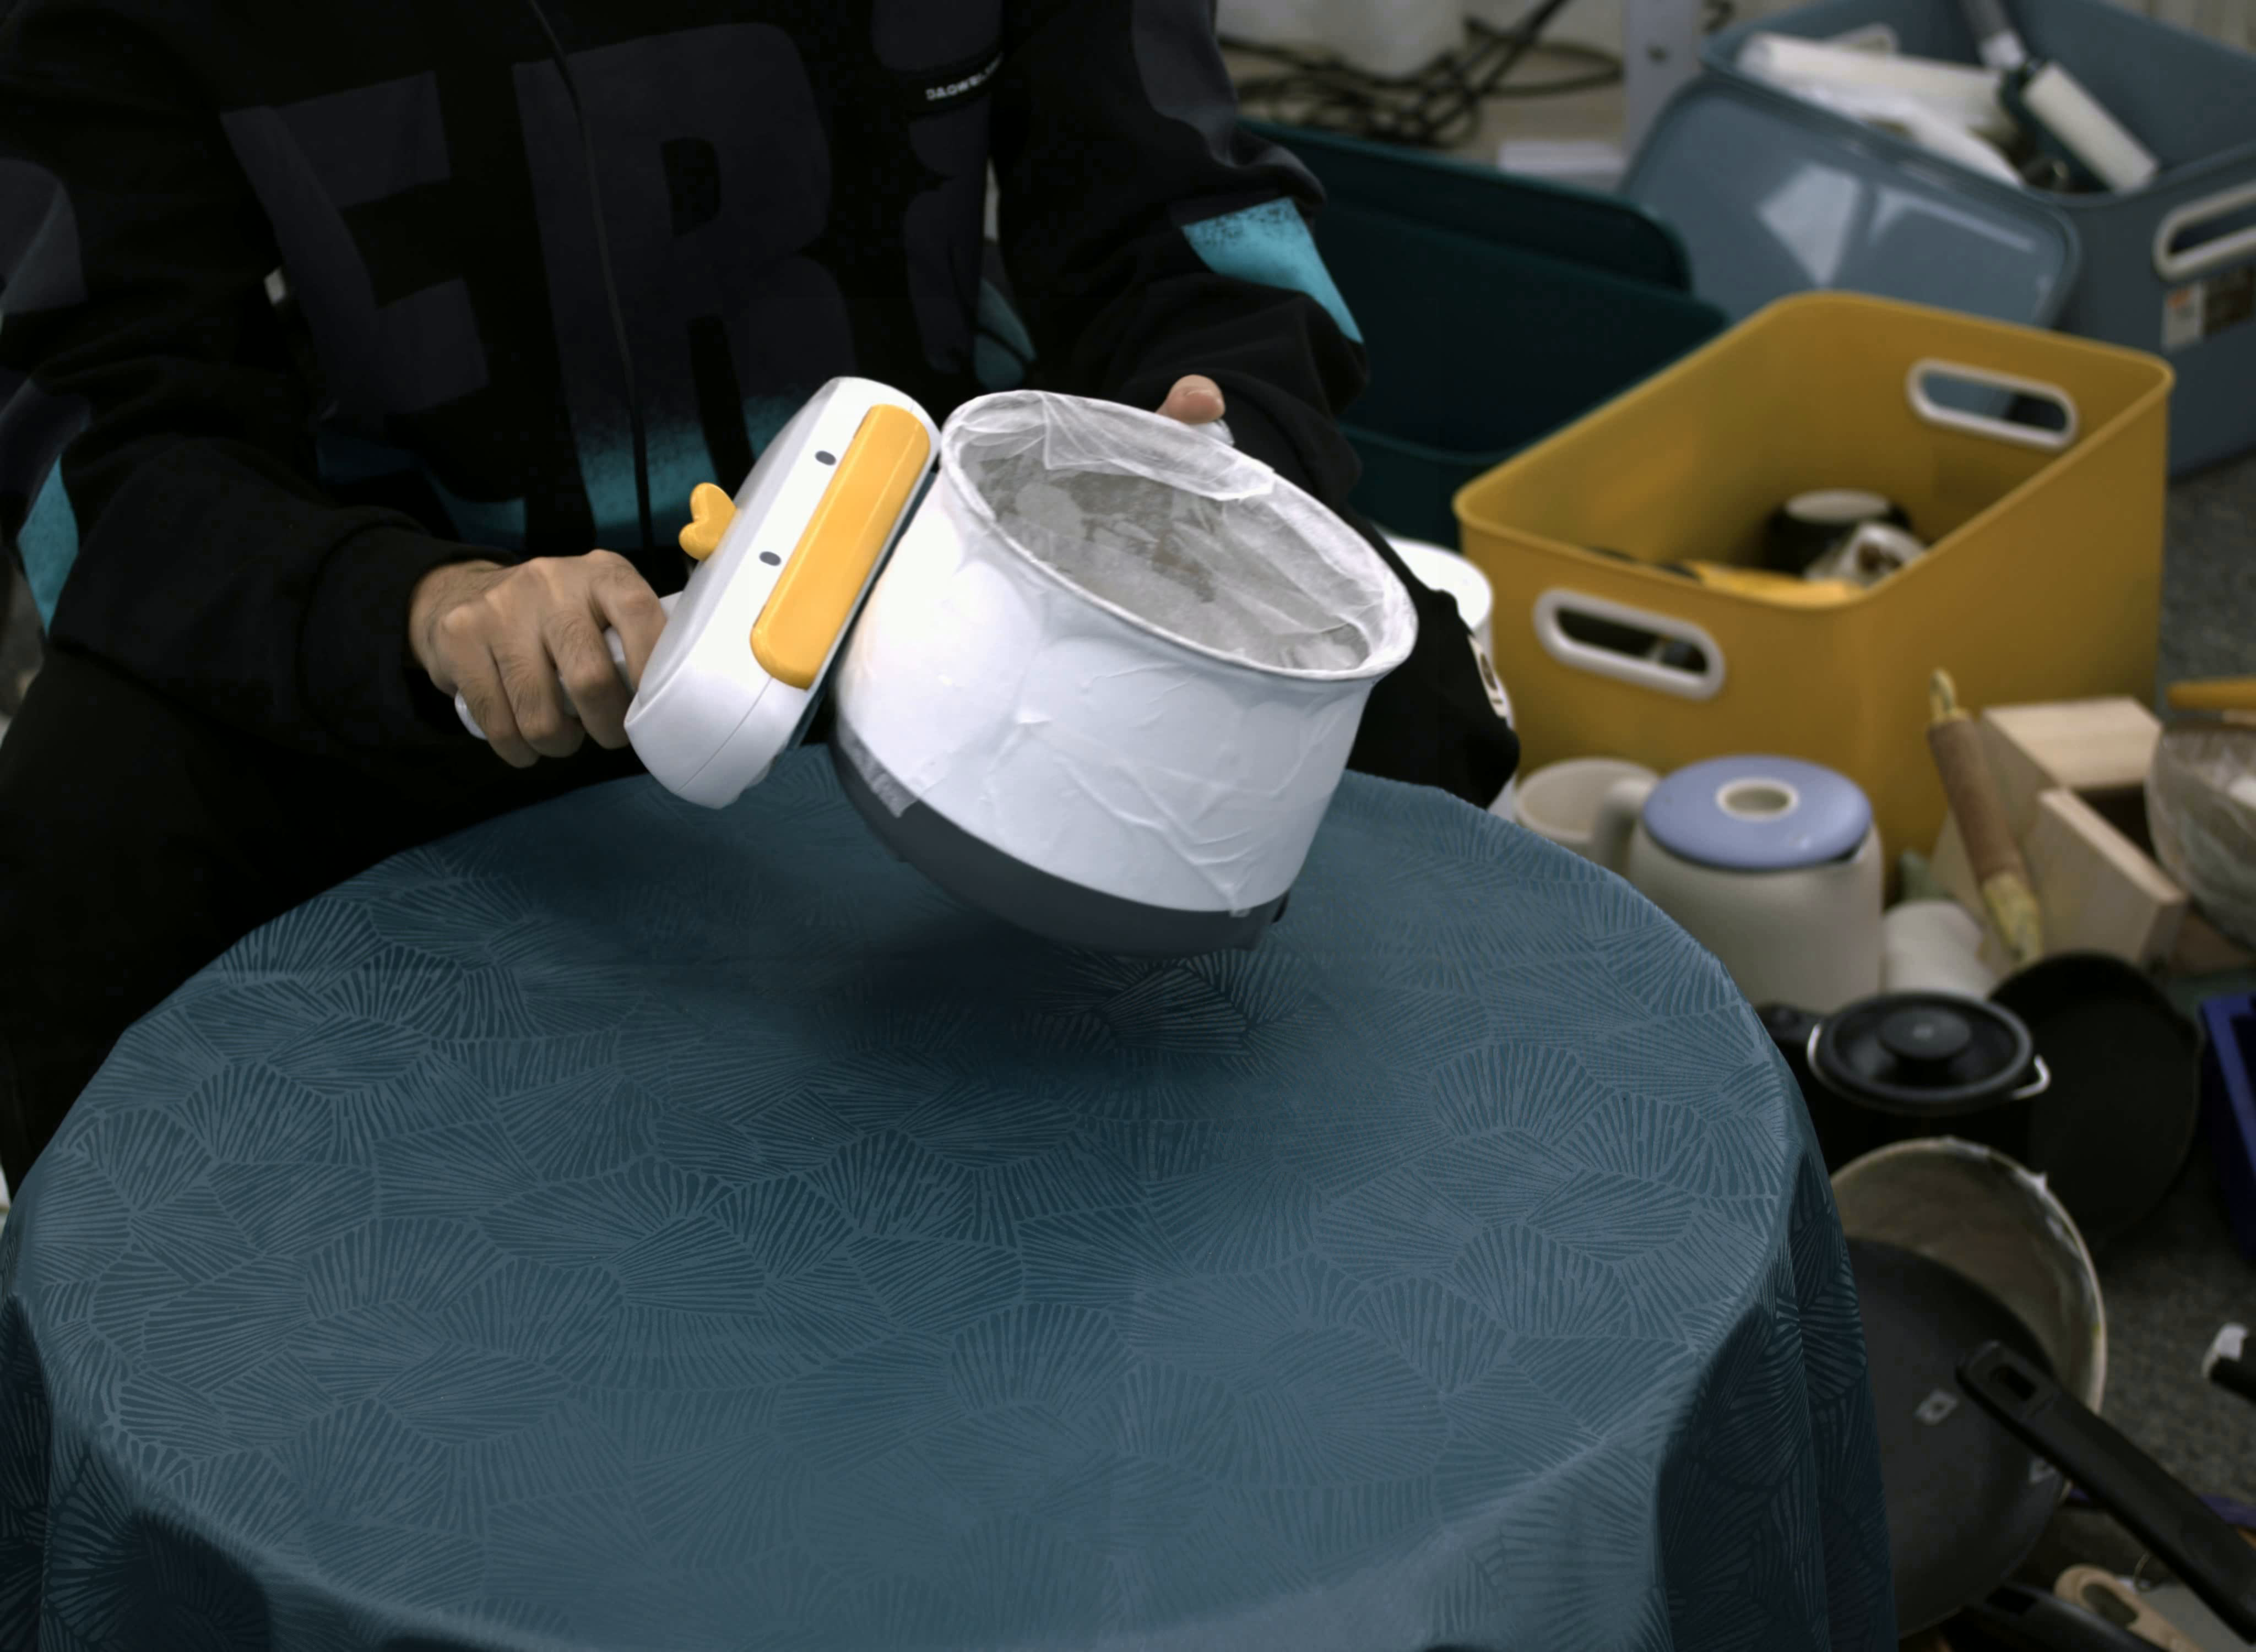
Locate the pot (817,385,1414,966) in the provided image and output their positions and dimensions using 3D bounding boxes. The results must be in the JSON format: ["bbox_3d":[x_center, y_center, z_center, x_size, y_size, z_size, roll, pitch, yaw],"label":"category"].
[{"bbox_3d":[-0.006,-0.061,1.956,0.178,0.135,0.237,25,25,-6],"label":"pot"}]

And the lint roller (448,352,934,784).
[{"bbox_3d":[-0.162,-0.069,1.994,0.189,0.074,0.197,-34,27,35],"label":"lint roller"}]
